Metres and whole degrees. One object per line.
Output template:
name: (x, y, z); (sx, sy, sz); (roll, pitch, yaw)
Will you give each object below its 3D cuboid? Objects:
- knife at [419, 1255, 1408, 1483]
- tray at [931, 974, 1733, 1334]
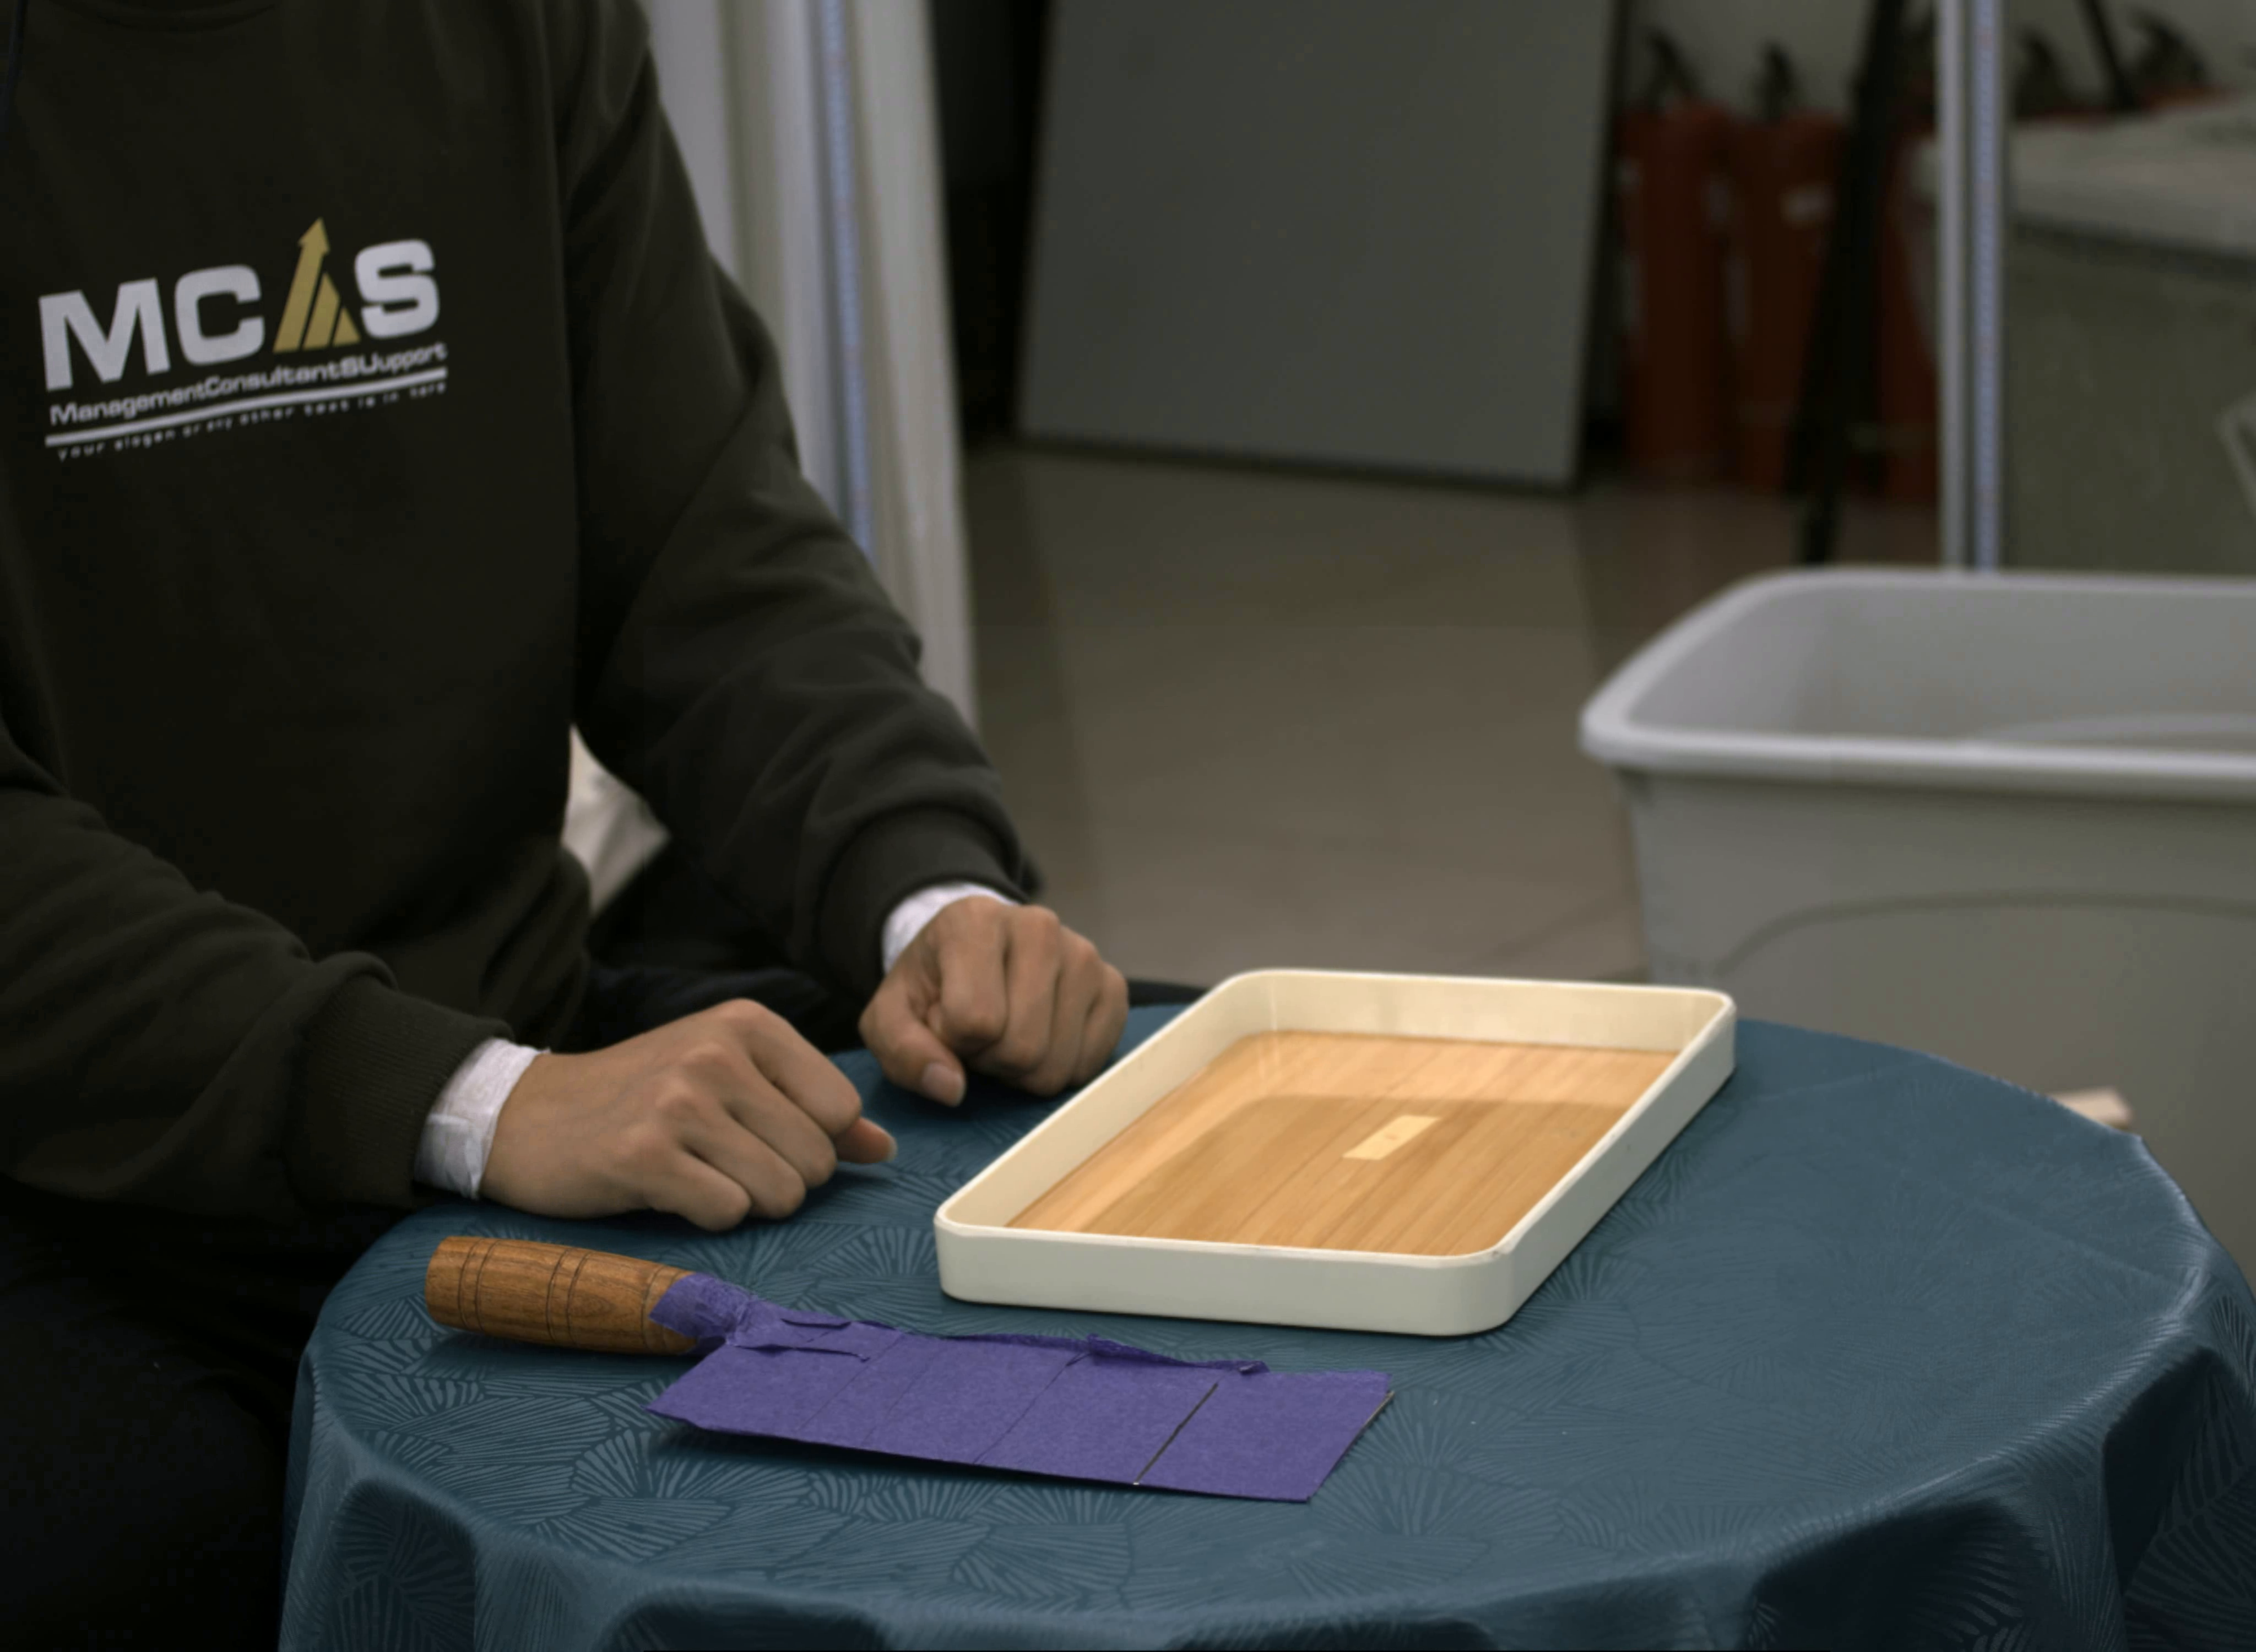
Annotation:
knife: (-0.078, 0.159, 1.584); (0.315, 0.032, 0.103); (2, 14, 22)
tray: (0.074, 0.103, 1.769); (0.191, 0.028, 0.297); (1, 14, 22)
